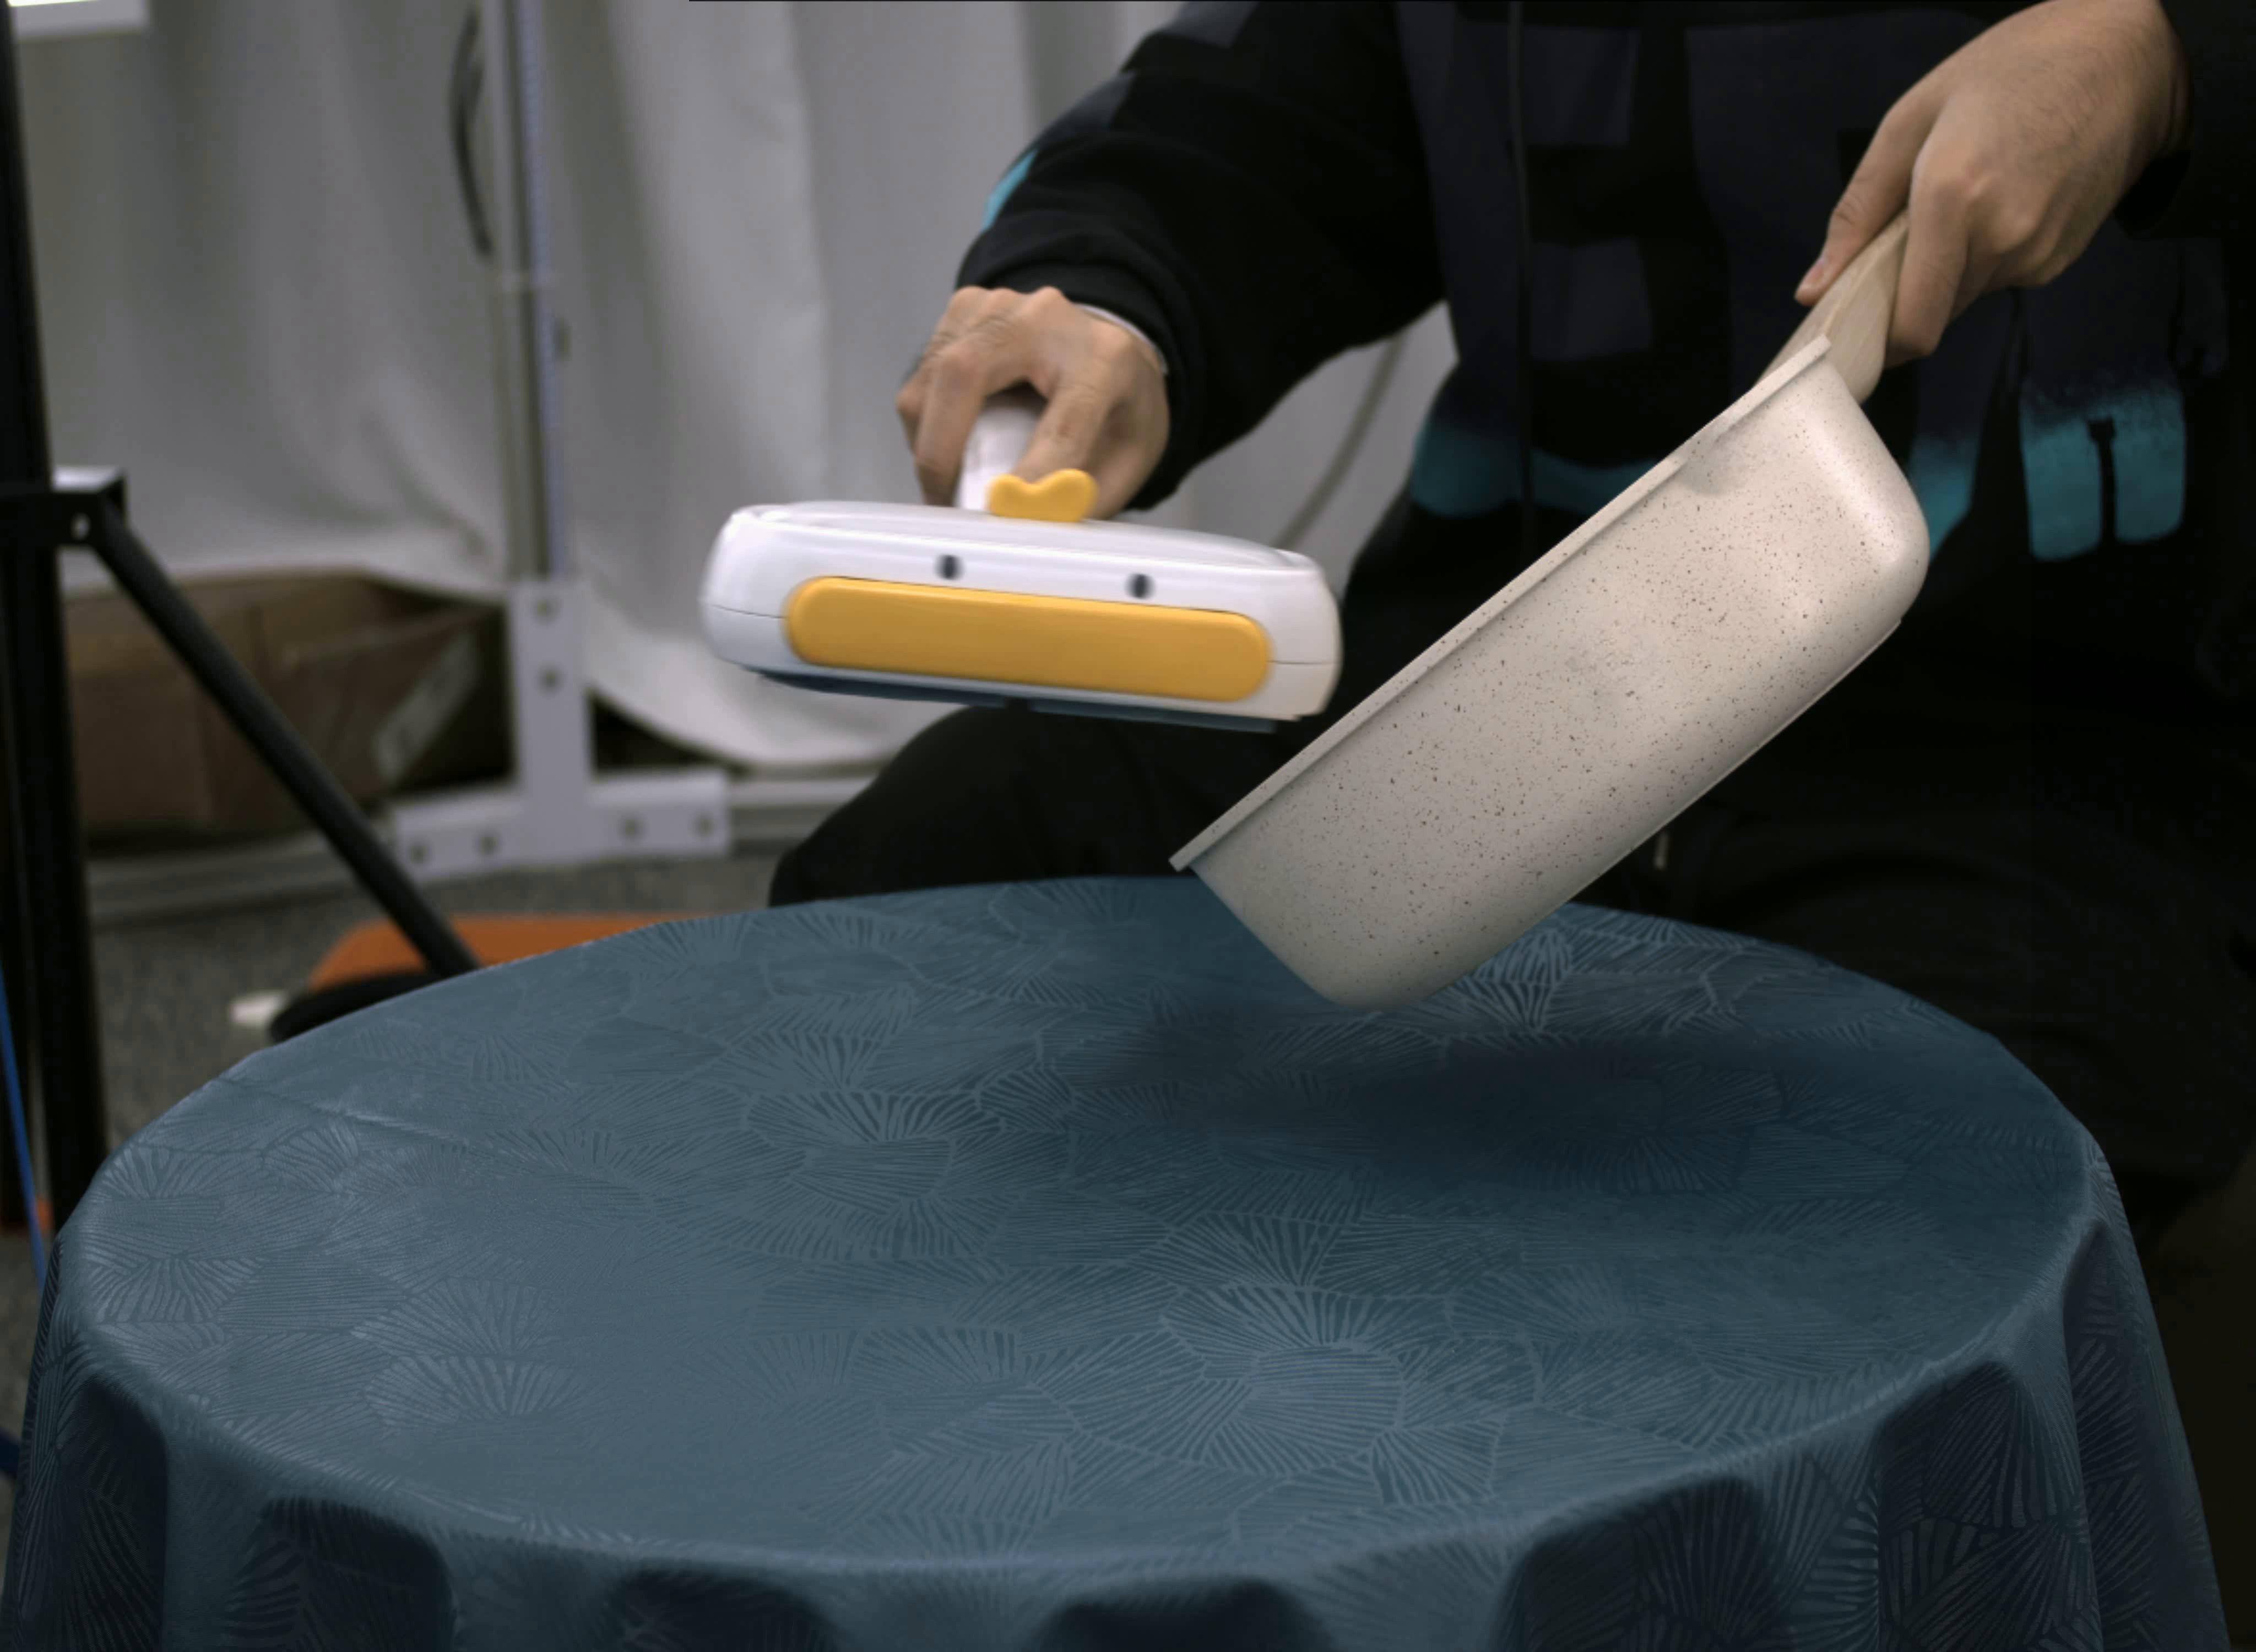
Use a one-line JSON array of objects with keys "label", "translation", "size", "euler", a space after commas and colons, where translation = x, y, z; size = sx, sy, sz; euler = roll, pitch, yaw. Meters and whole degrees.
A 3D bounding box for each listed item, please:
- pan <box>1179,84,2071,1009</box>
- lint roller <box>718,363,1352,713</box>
[{"label": "pan", "translation": [0.192, -0.092, 1.633], "size": [0.429, 0.102, 0.266], "euler": [-38, -3, -33]}, {"label": "lint roller", "translation": [-0.035, -0.092, 1.662], "size": [0.191, 0.074, 0.194], "euler": [-1, 19, -6]}]
